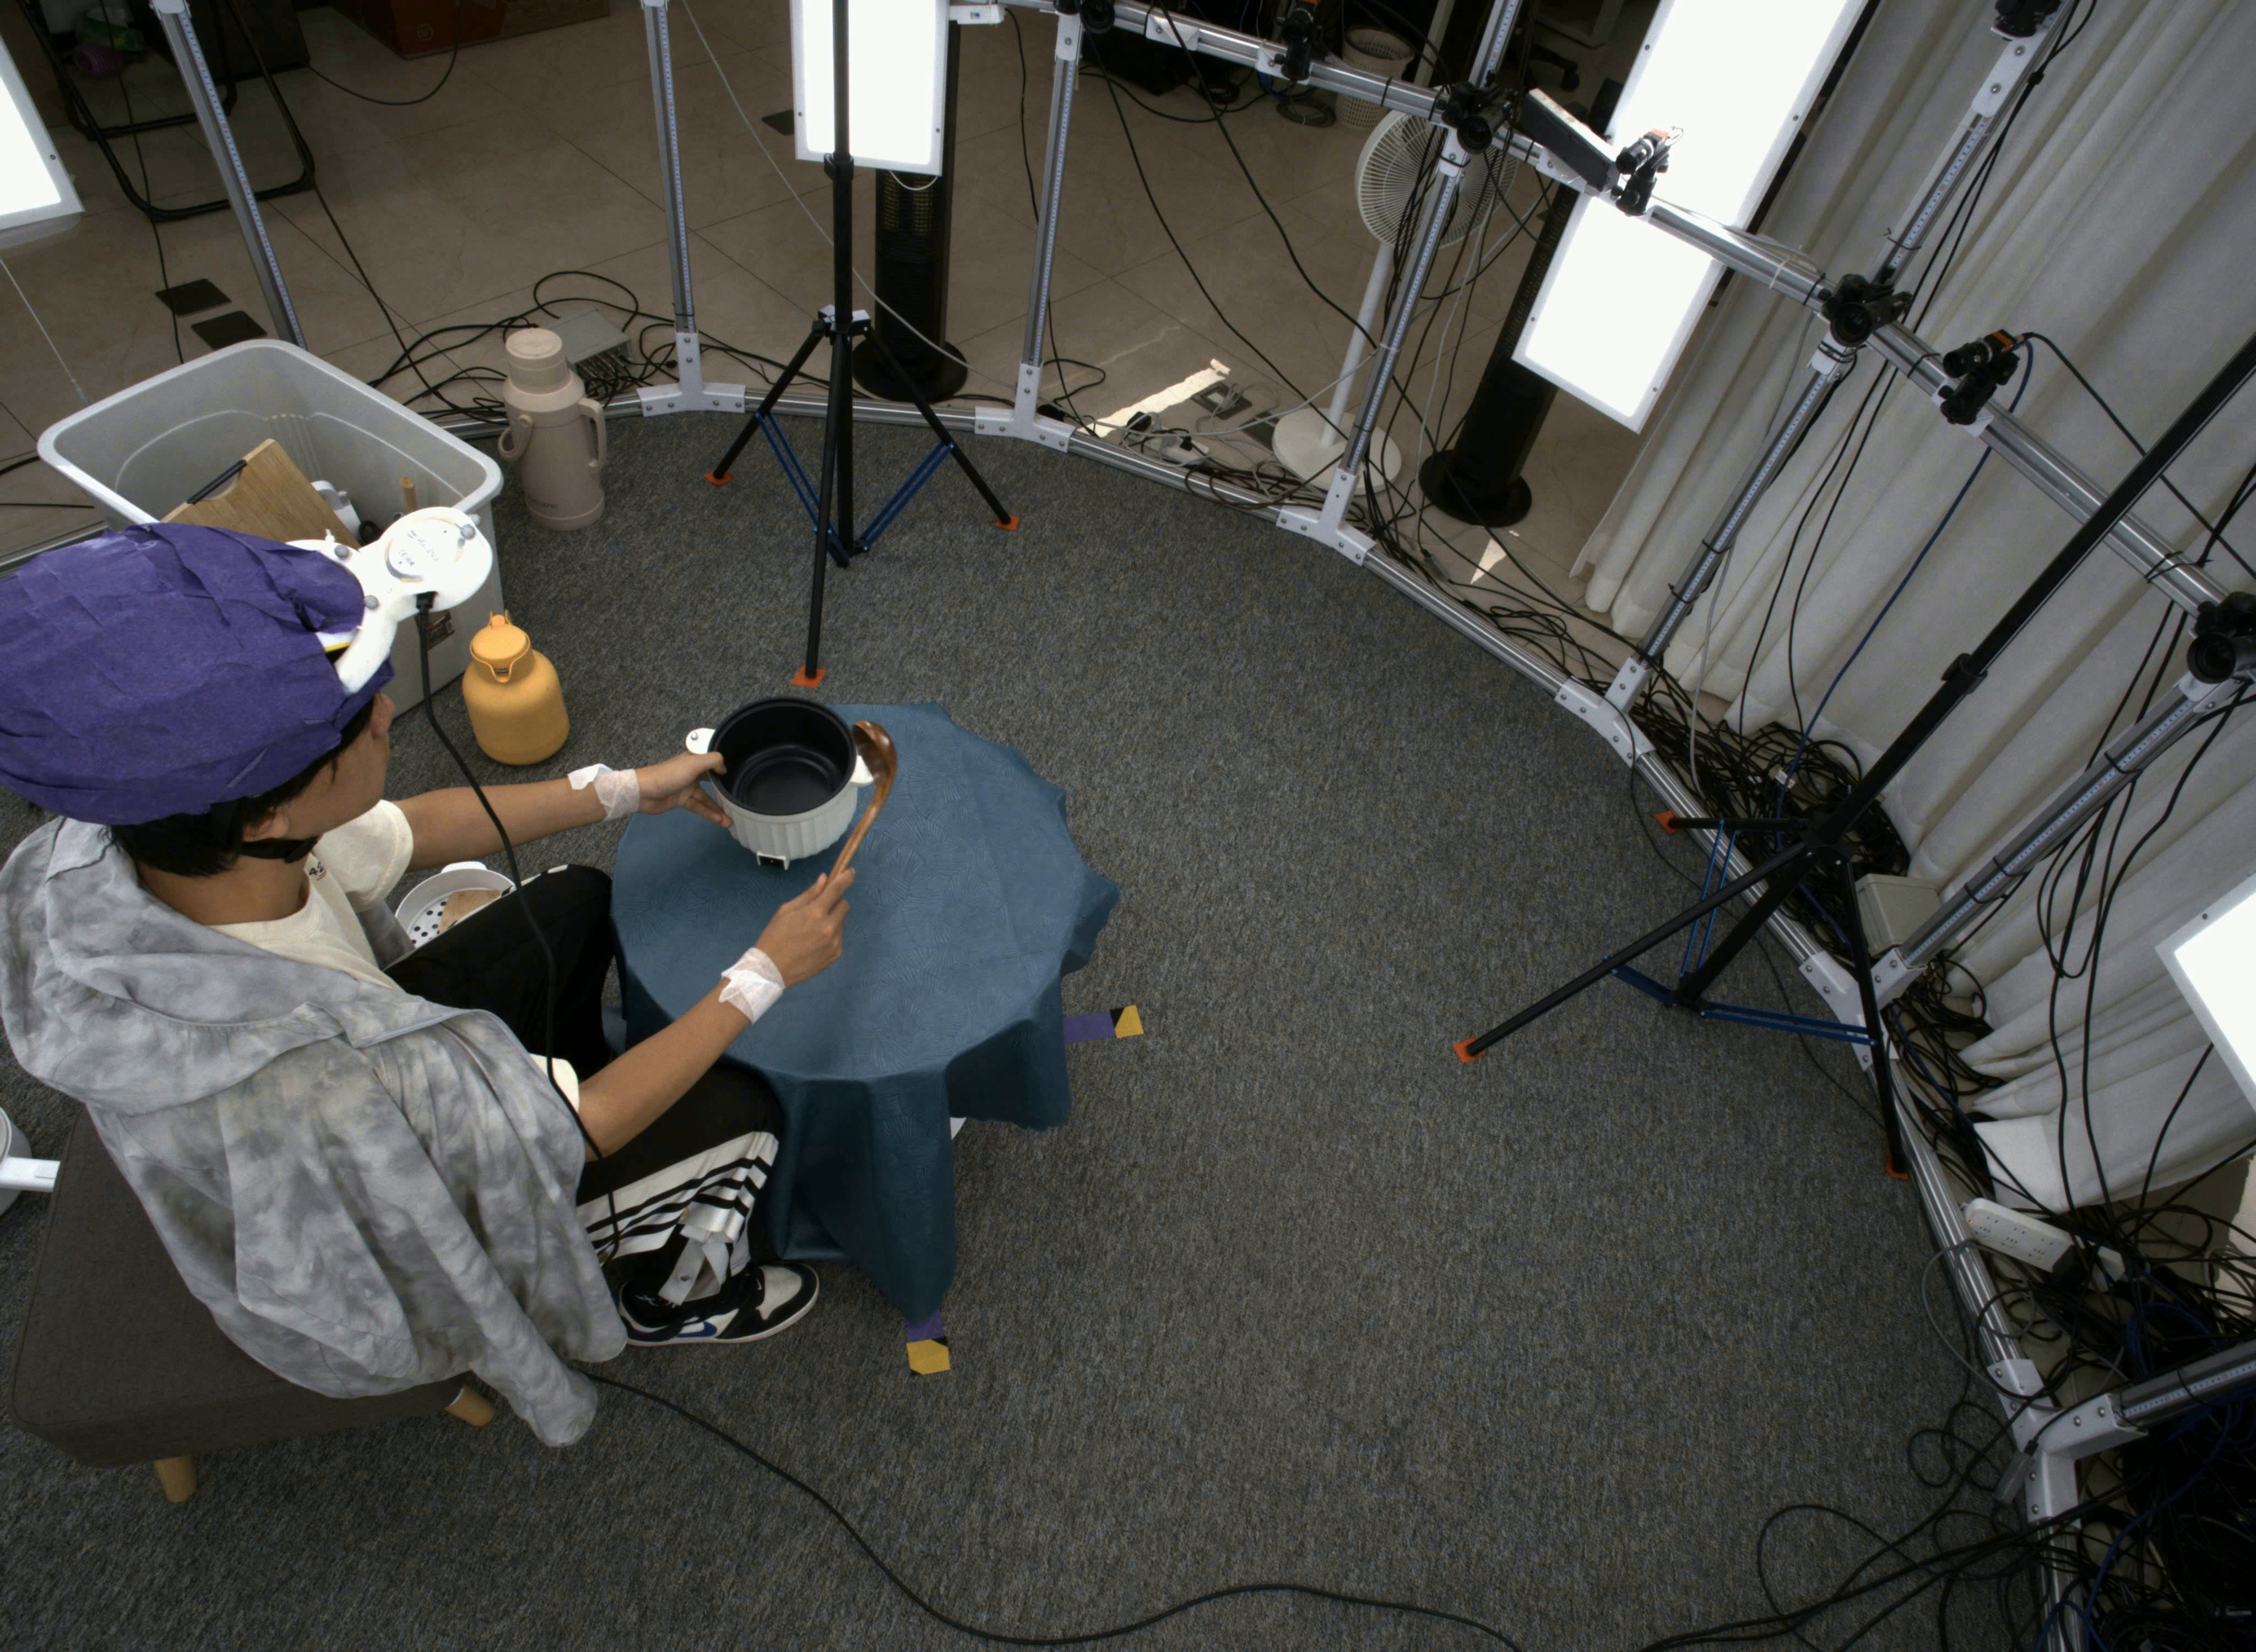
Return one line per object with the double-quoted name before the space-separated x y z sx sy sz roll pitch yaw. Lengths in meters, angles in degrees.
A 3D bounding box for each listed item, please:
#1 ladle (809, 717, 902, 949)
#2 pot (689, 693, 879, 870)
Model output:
"ladle" -0.333 0.001 1.497 0.077 0.082 0.273 25 70 -5
"pot" -0.427 -0.059 1.643 0.239 0.145 0.188 10 60 -5
